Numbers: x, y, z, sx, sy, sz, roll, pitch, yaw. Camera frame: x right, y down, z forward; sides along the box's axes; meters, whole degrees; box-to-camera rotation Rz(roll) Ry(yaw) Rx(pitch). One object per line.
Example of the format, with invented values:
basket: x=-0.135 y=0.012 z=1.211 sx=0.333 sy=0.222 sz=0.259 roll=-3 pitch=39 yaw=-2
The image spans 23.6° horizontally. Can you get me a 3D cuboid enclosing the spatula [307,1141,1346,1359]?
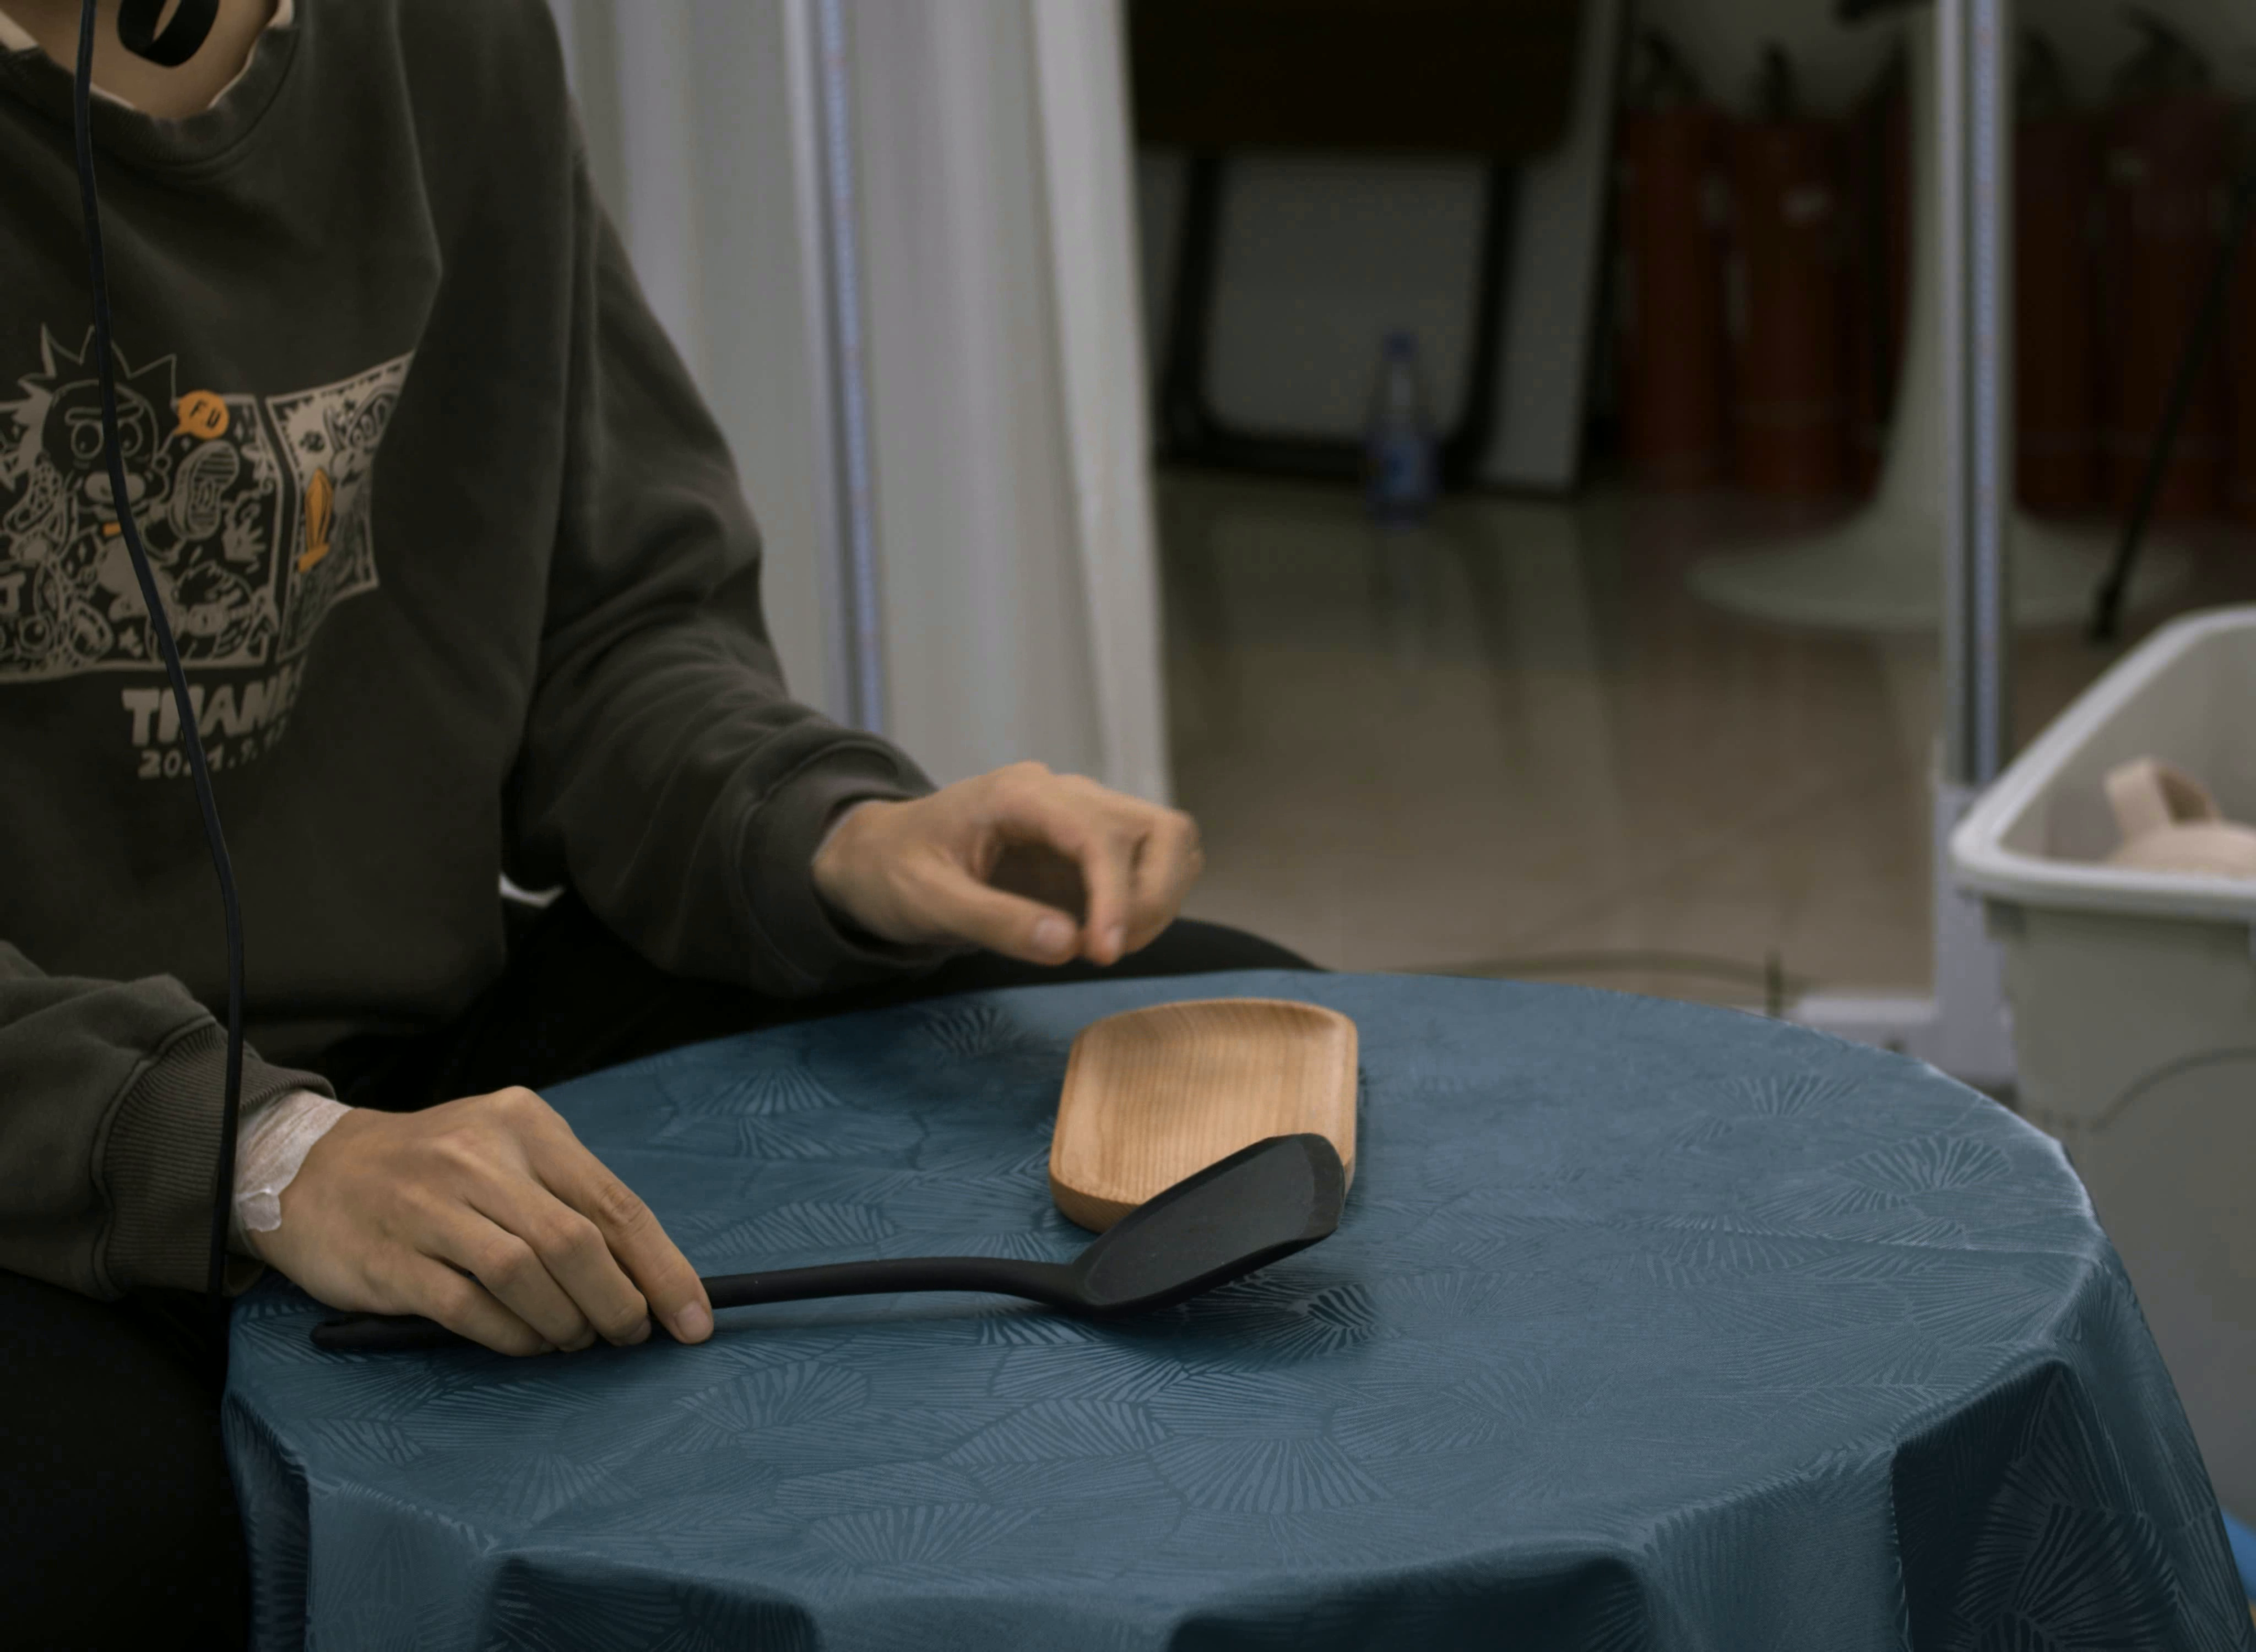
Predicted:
spatula: x=-0.093 y=0.137 z=1.662 sx=0.322 sy=0.041 sz=0.100 roll=-3 pitch=13 yaw=2

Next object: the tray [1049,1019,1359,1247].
tray: x=0.028 y=0.102 z=1.816 sx=0.100 sy=0.020 sz=0.231 roll=-4 pitch=14 yaw=4
